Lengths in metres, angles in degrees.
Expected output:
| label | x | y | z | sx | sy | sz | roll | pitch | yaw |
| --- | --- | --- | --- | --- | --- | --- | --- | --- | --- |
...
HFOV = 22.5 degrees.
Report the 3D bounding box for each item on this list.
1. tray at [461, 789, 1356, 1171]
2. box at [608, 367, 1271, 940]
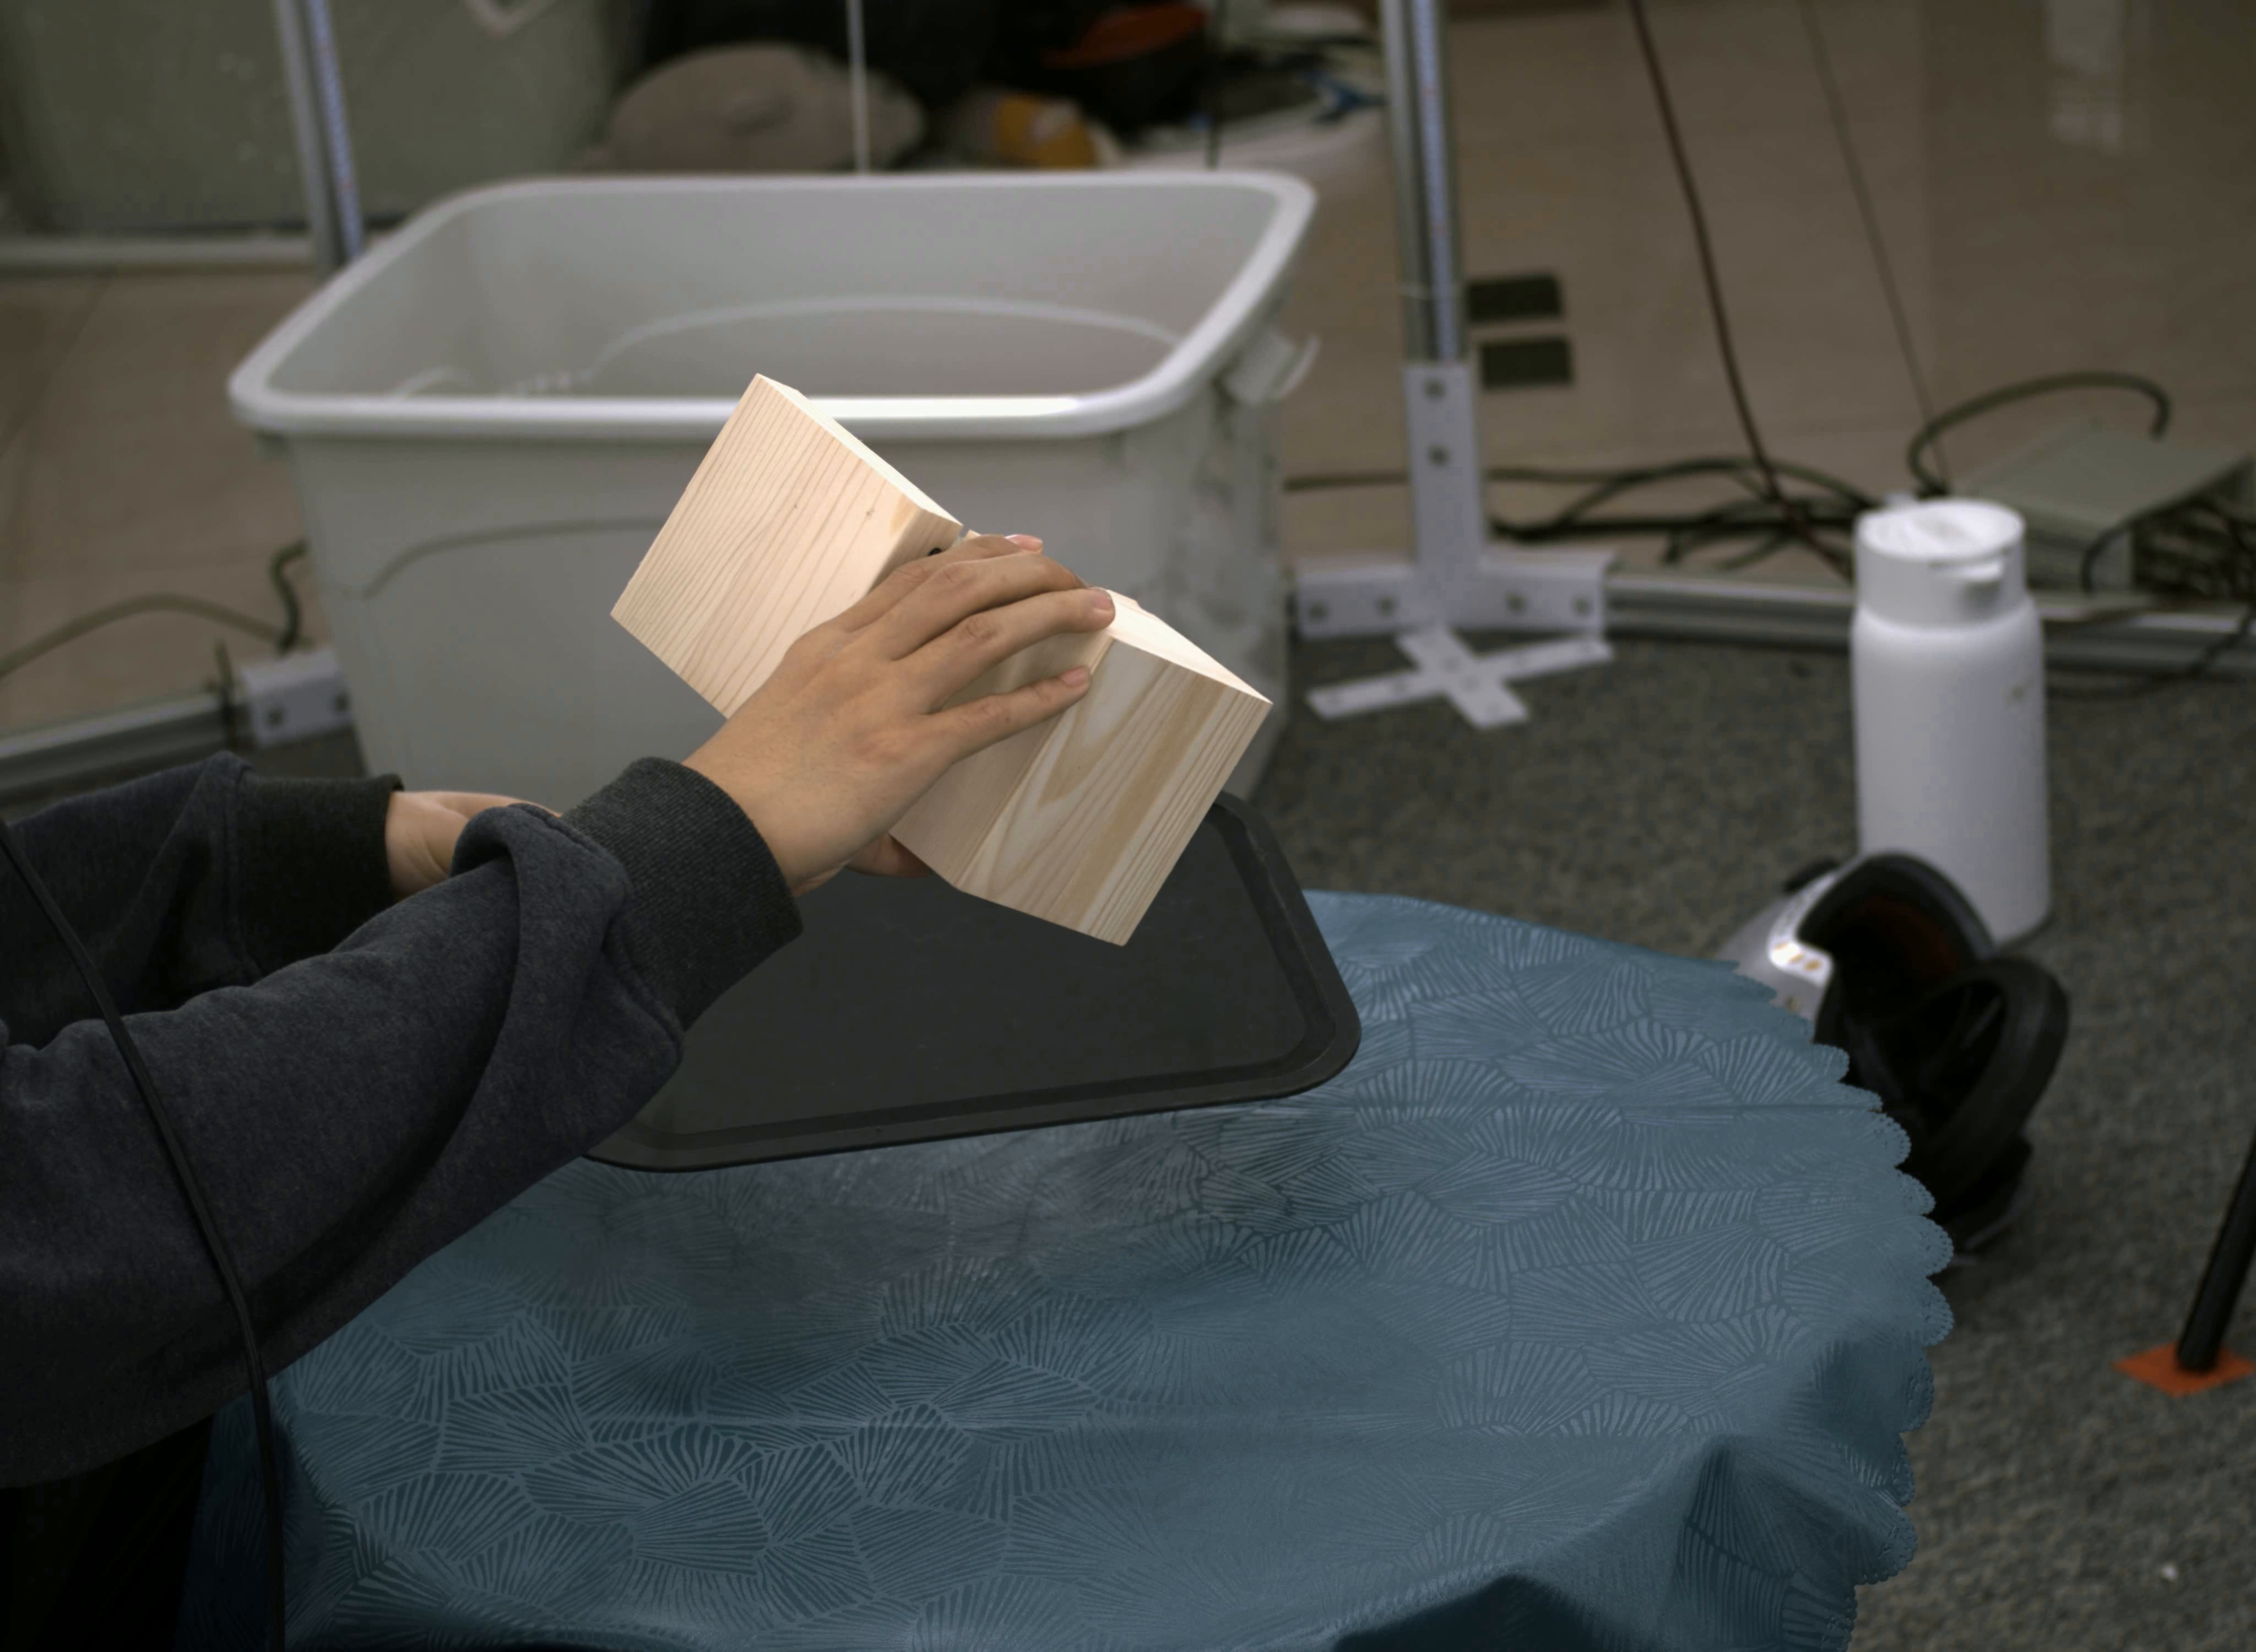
| label | x | y | z | sx | sy | sz | roll | pitch | yaw |
| --- | --- | --- | --- | --- | --- | --- | --- | --- | --- |
| tray | -0.086 | 0.053 | 2.126 | 0.325 | 0.010 | 0.207 | -6 | 36 | -12 |
| box | -0.067 | -0.060 | 1.972 | 0.182 | 0.103 | 0.134 | 40 | 12 | 33 |
